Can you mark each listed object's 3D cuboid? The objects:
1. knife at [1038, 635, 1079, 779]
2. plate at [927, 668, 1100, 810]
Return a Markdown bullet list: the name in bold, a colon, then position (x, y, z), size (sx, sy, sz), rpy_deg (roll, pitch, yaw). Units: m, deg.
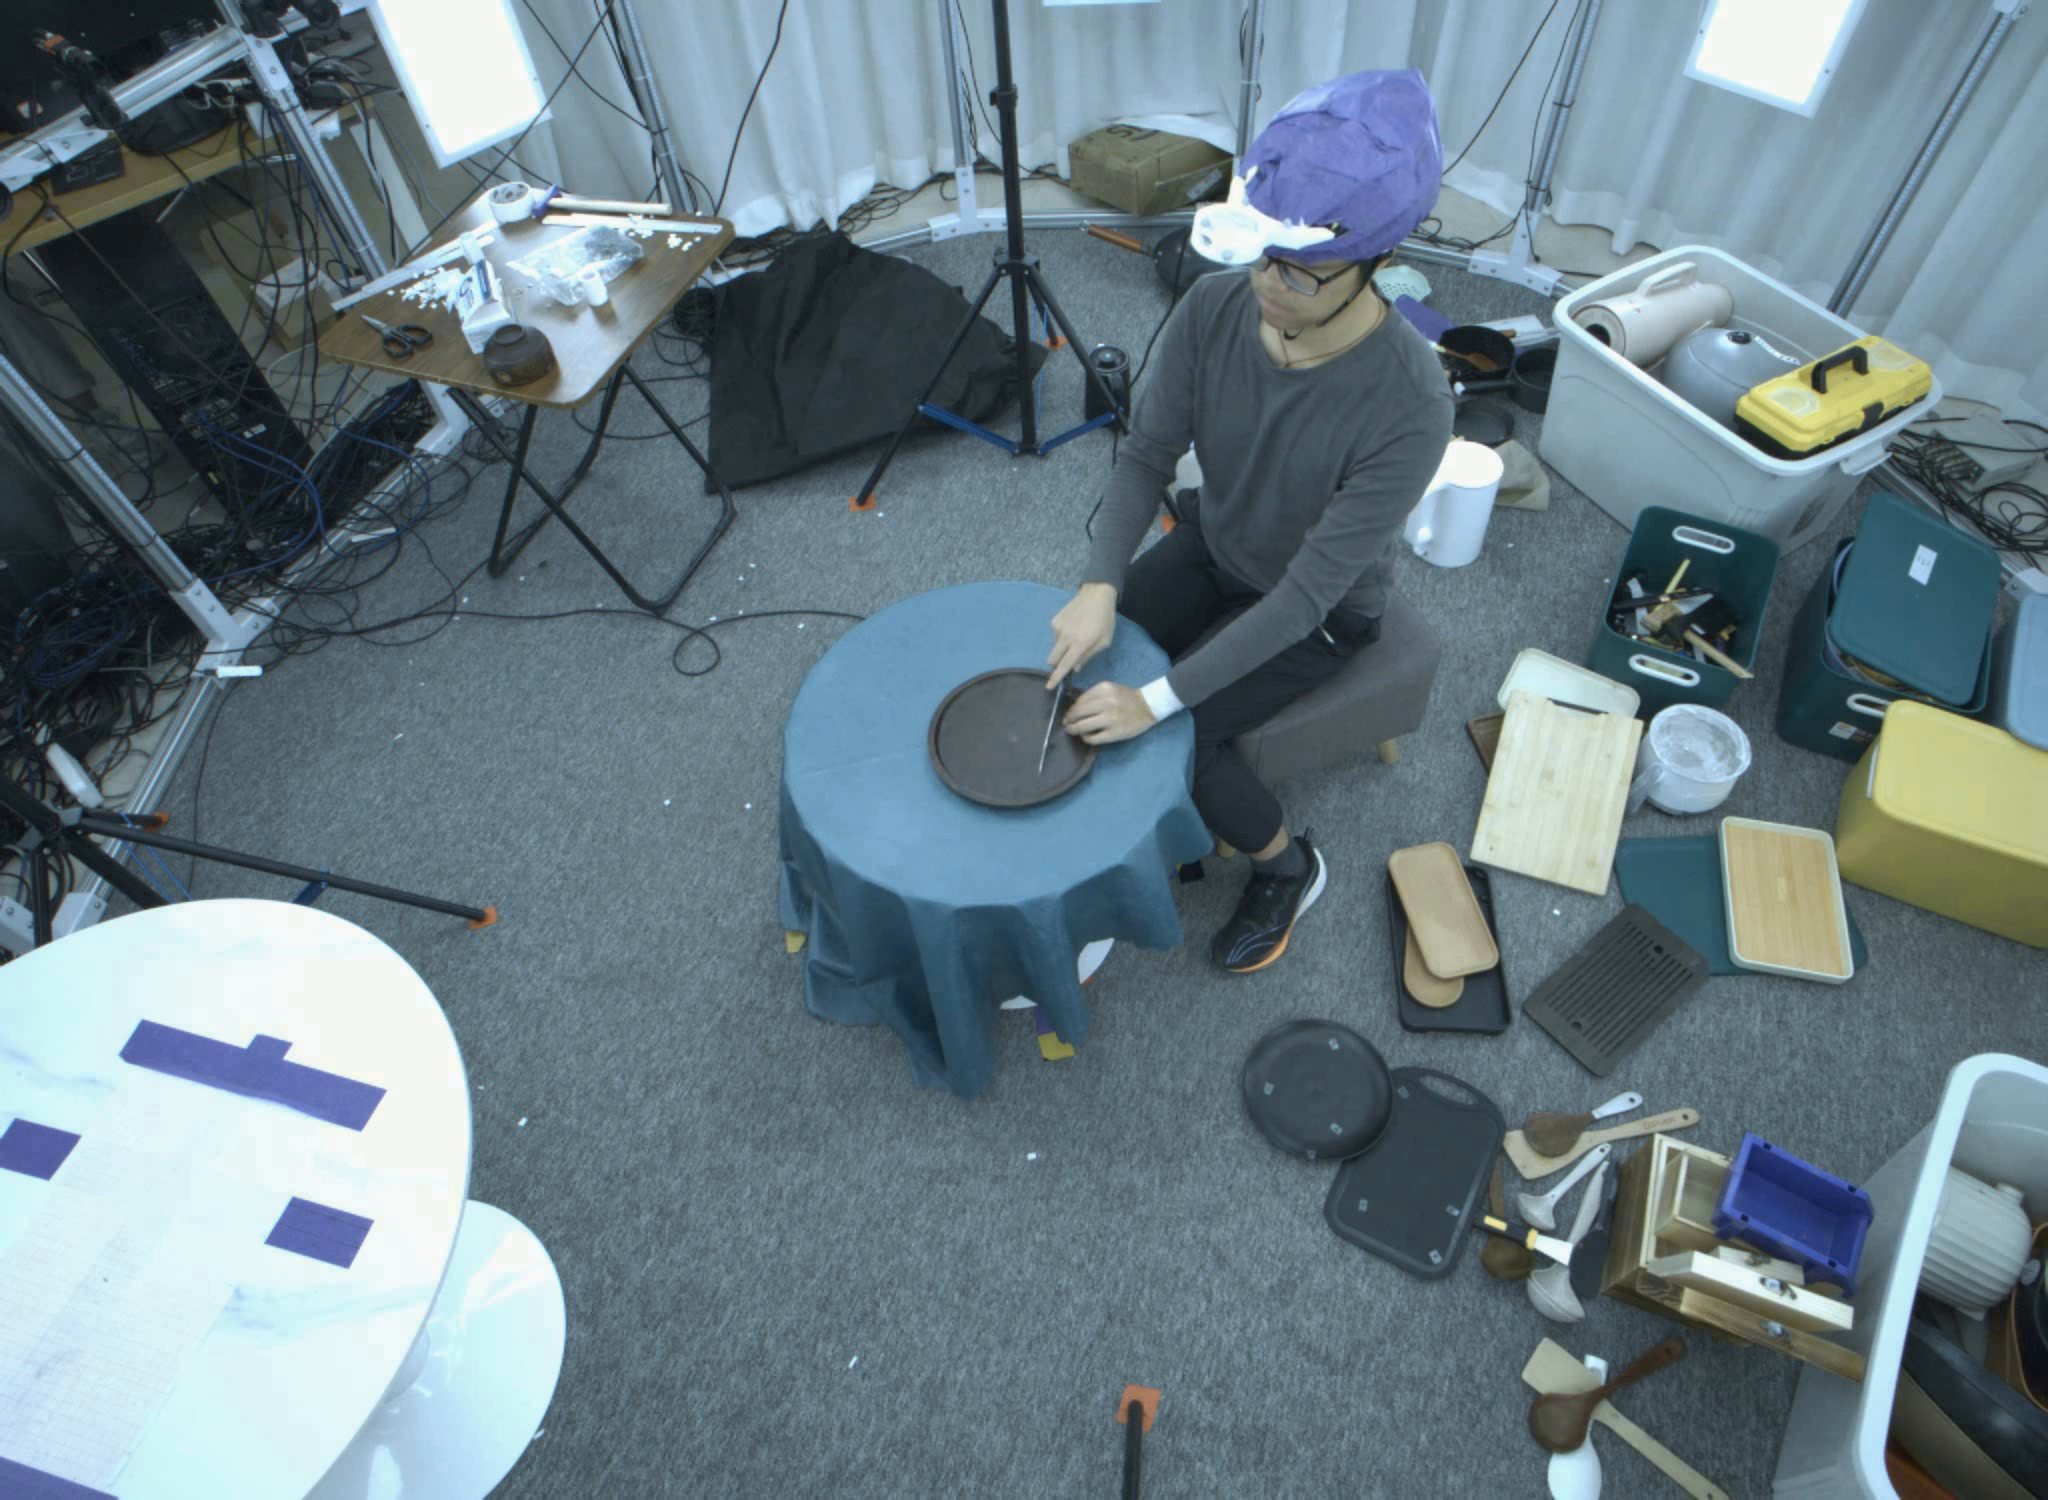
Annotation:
- **knife**: position (0.048, -0.067, 1.794), size (0.016, 0.024, 0.237), rpy_deg (14, 68, 3)
- **plate**: position (-0.016, -0.018, 1.794), size (0.254, 0.029, 0.252), rpy_deg (0, 56, 2)
